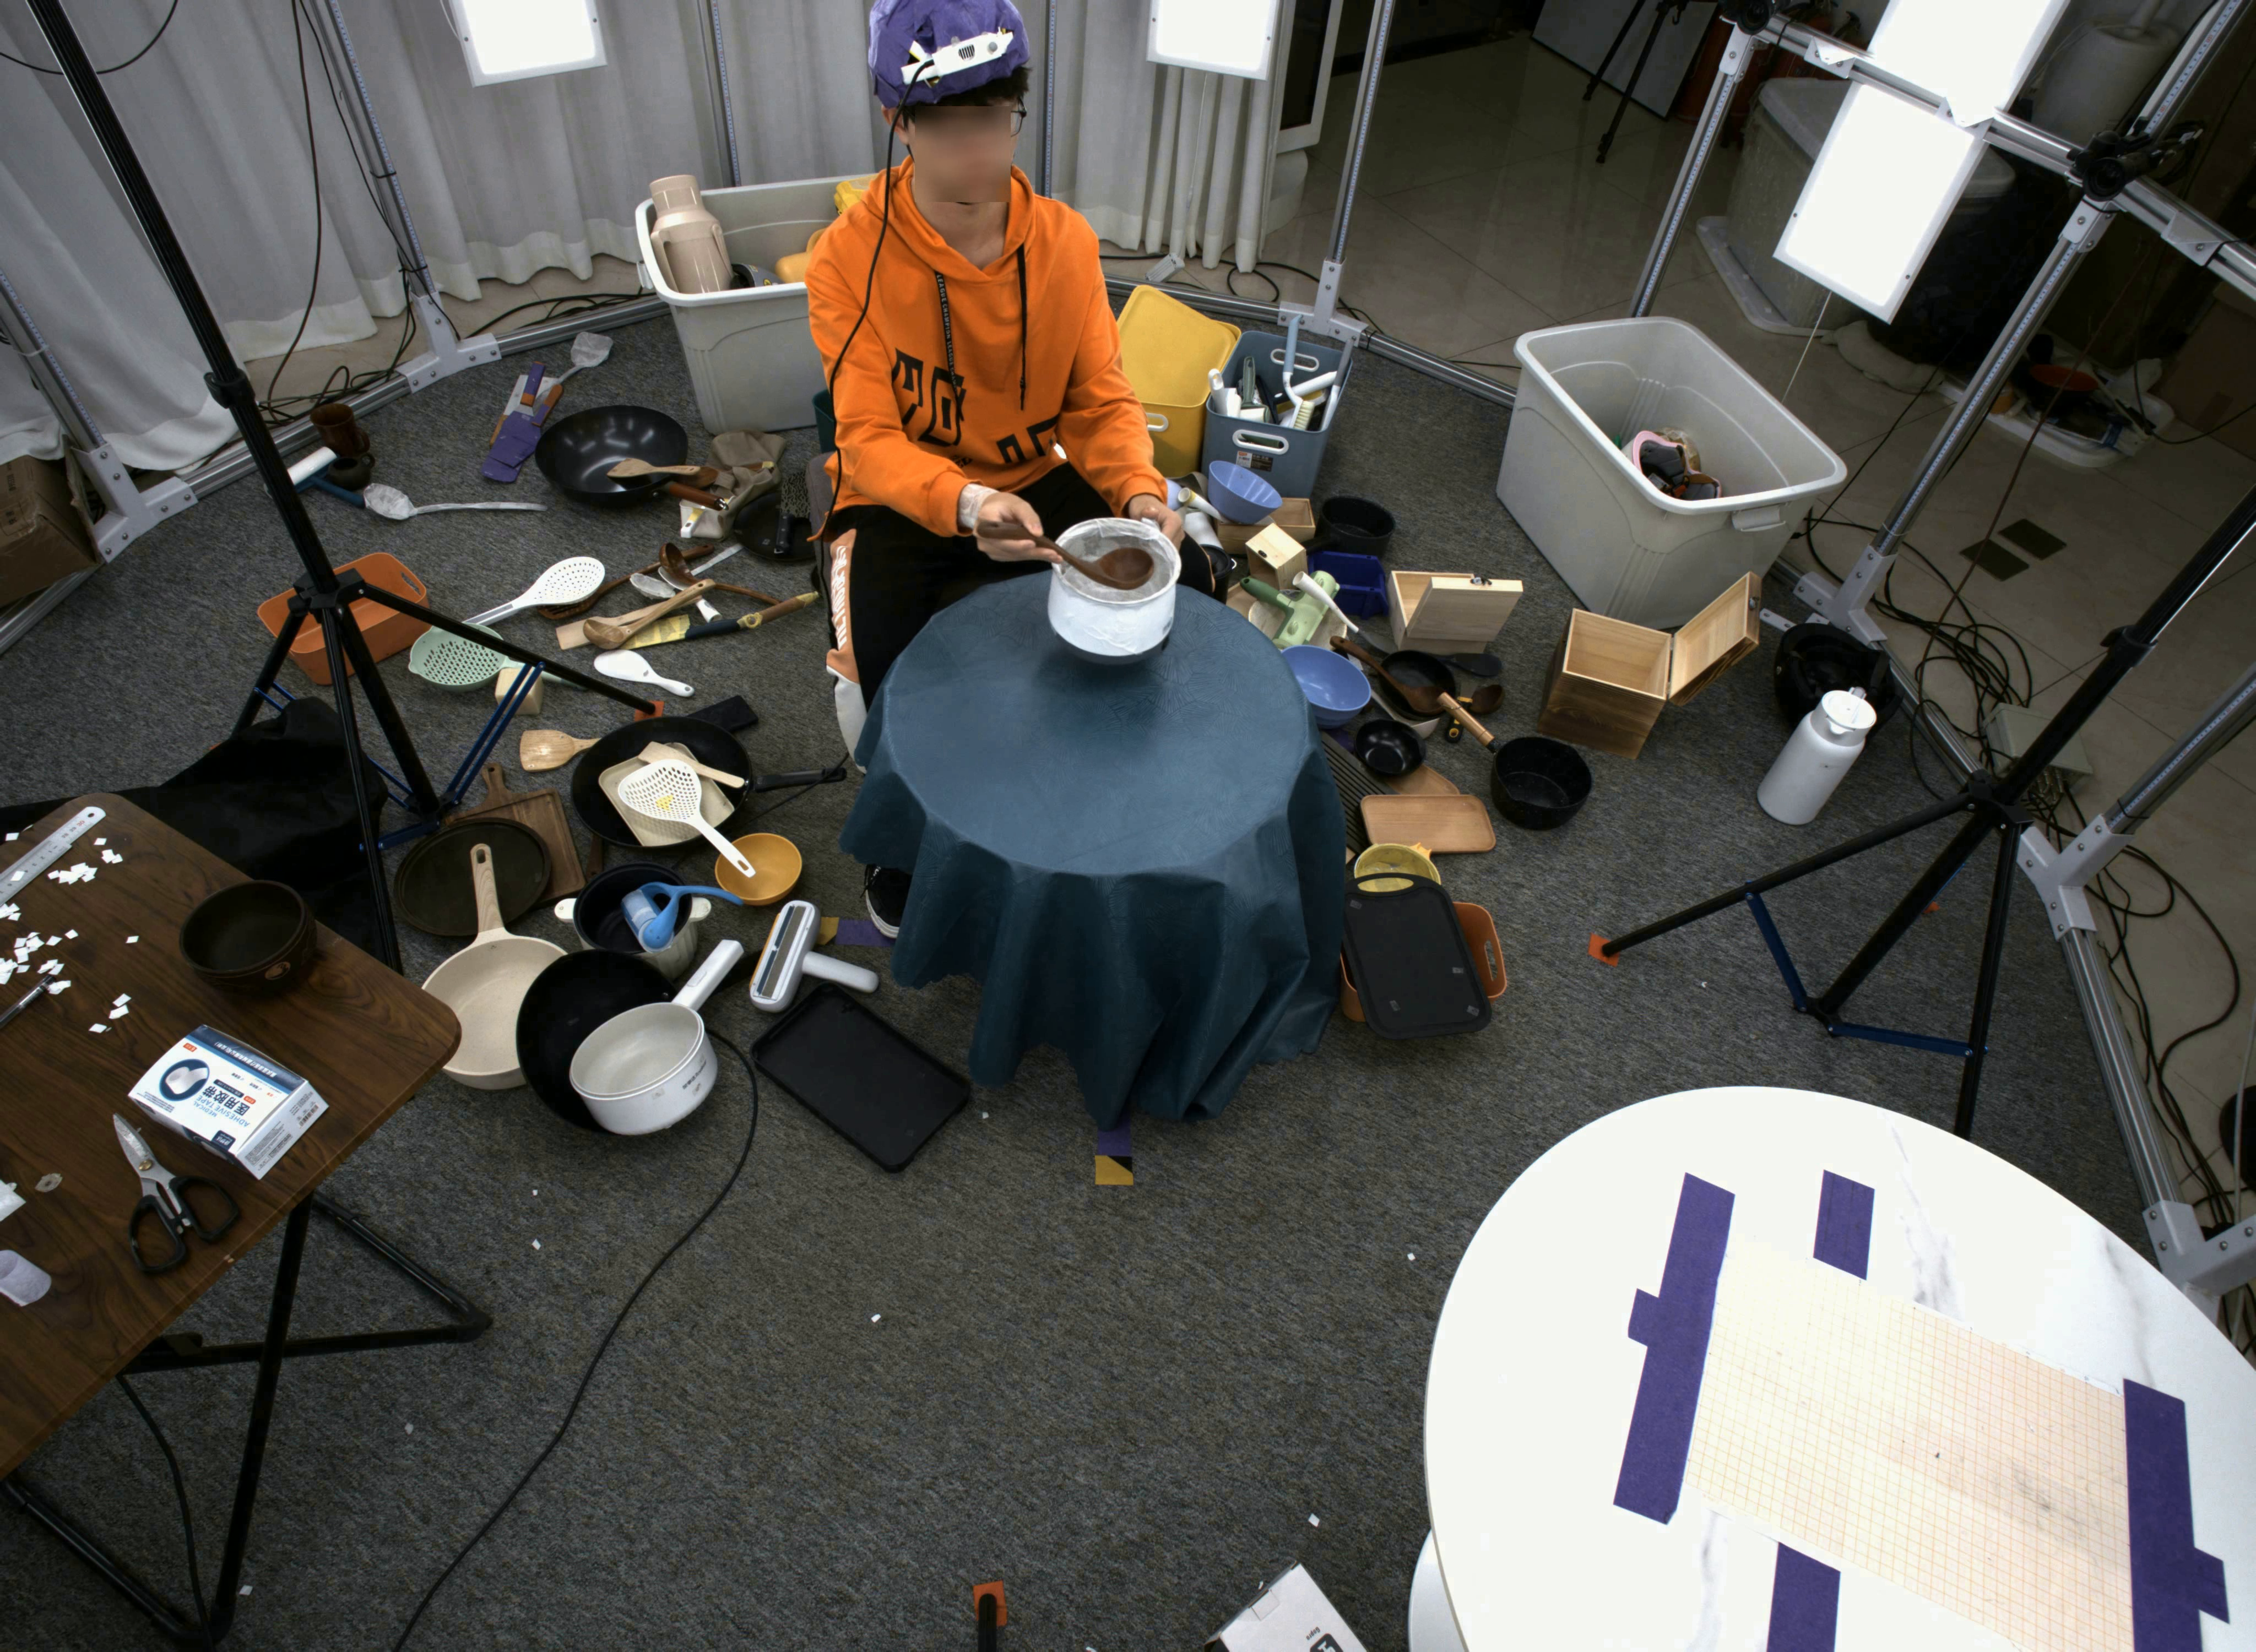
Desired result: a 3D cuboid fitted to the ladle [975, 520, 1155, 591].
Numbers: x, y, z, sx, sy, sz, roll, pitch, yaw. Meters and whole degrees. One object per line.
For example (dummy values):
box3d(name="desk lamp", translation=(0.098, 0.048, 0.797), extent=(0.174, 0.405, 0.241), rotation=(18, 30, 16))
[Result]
box3d(name="ladle", translation=(-0.076, -0.364, 1.668), extent=(0.257, 0.064, 0.078), rotation=(15, 30, -37))

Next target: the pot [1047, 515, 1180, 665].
box3d(name="pot", translation=(-0.012, -0.342, 1.807), extent=(0.179, 0.133, 0.238), rotation=(23, 52, 12))
